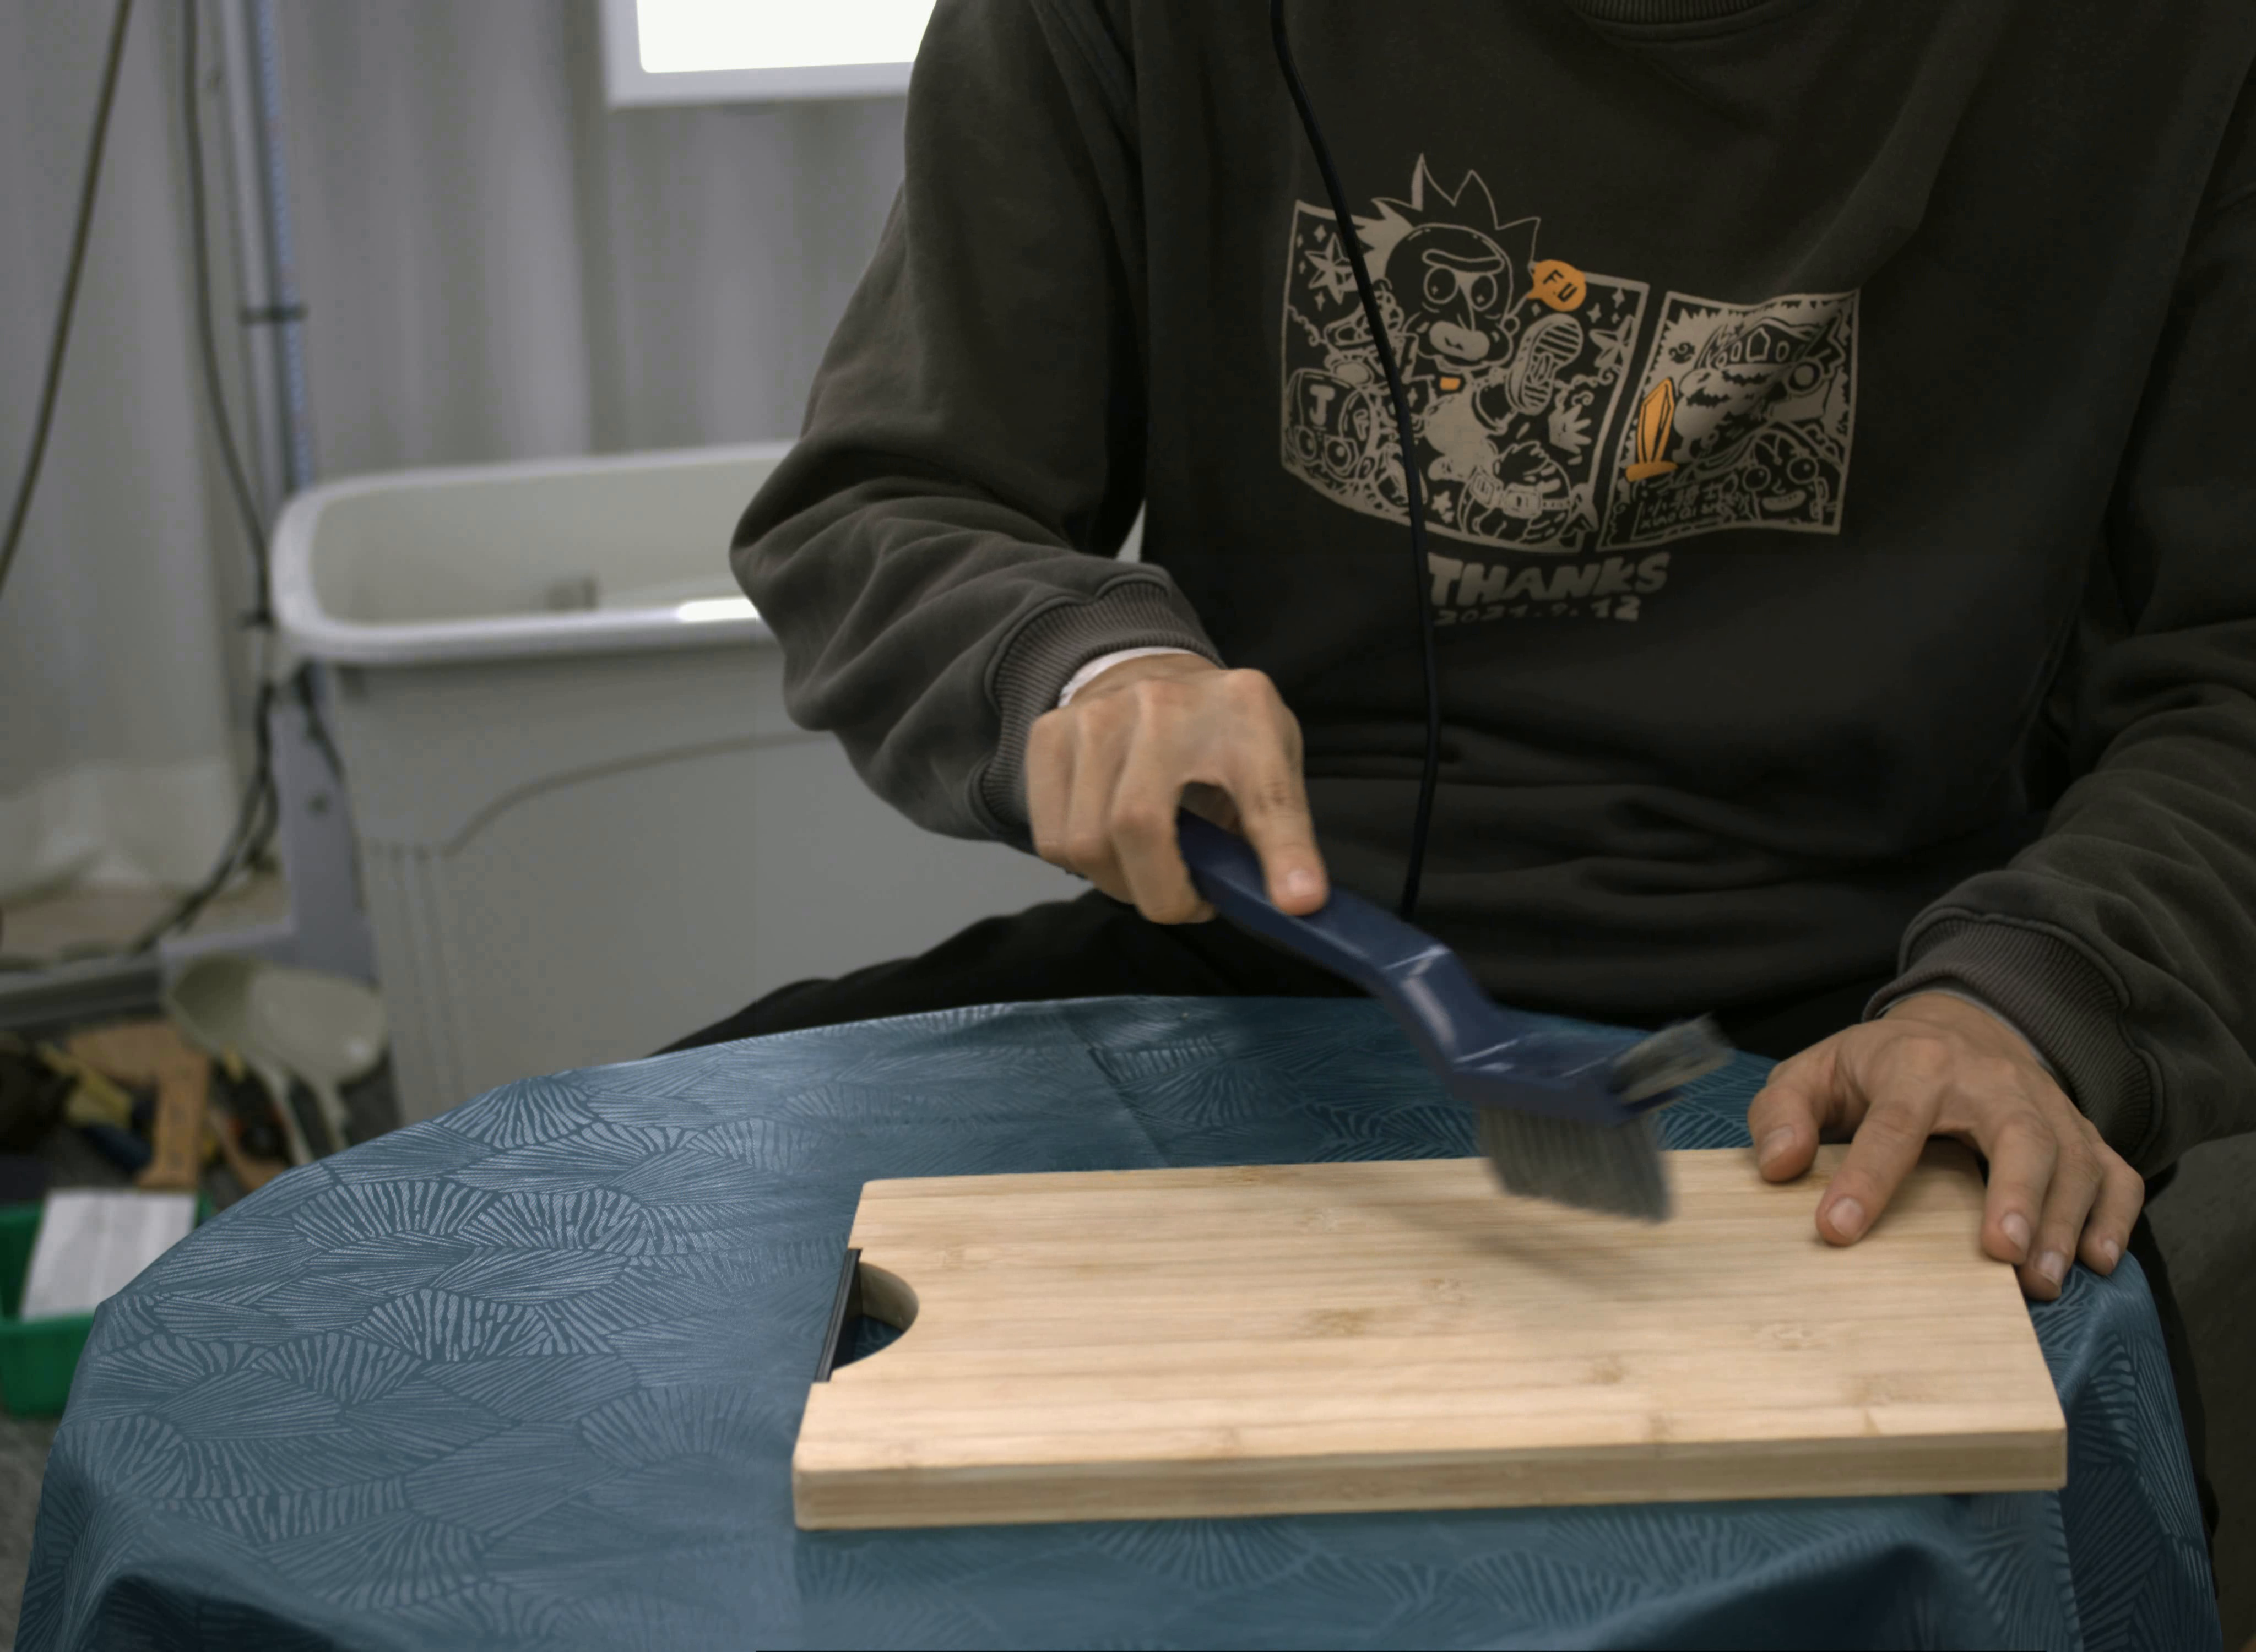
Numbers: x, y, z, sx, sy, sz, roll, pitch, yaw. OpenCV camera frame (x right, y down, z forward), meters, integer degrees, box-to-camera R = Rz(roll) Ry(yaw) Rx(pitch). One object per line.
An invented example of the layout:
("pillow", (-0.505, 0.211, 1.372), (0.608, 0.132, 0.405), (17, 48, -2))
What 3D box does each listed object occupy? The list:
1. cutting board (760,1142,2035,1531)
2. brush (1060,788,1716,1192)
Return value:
("cutting board", (0.077, 0.144, 1.568), (0.347, 0.023, 0.252), (-2, 14, 2))
("brush", (0.075, 0.030, 1.632), (0.033, 0.094, 0.276), (-24, 41, -31))
